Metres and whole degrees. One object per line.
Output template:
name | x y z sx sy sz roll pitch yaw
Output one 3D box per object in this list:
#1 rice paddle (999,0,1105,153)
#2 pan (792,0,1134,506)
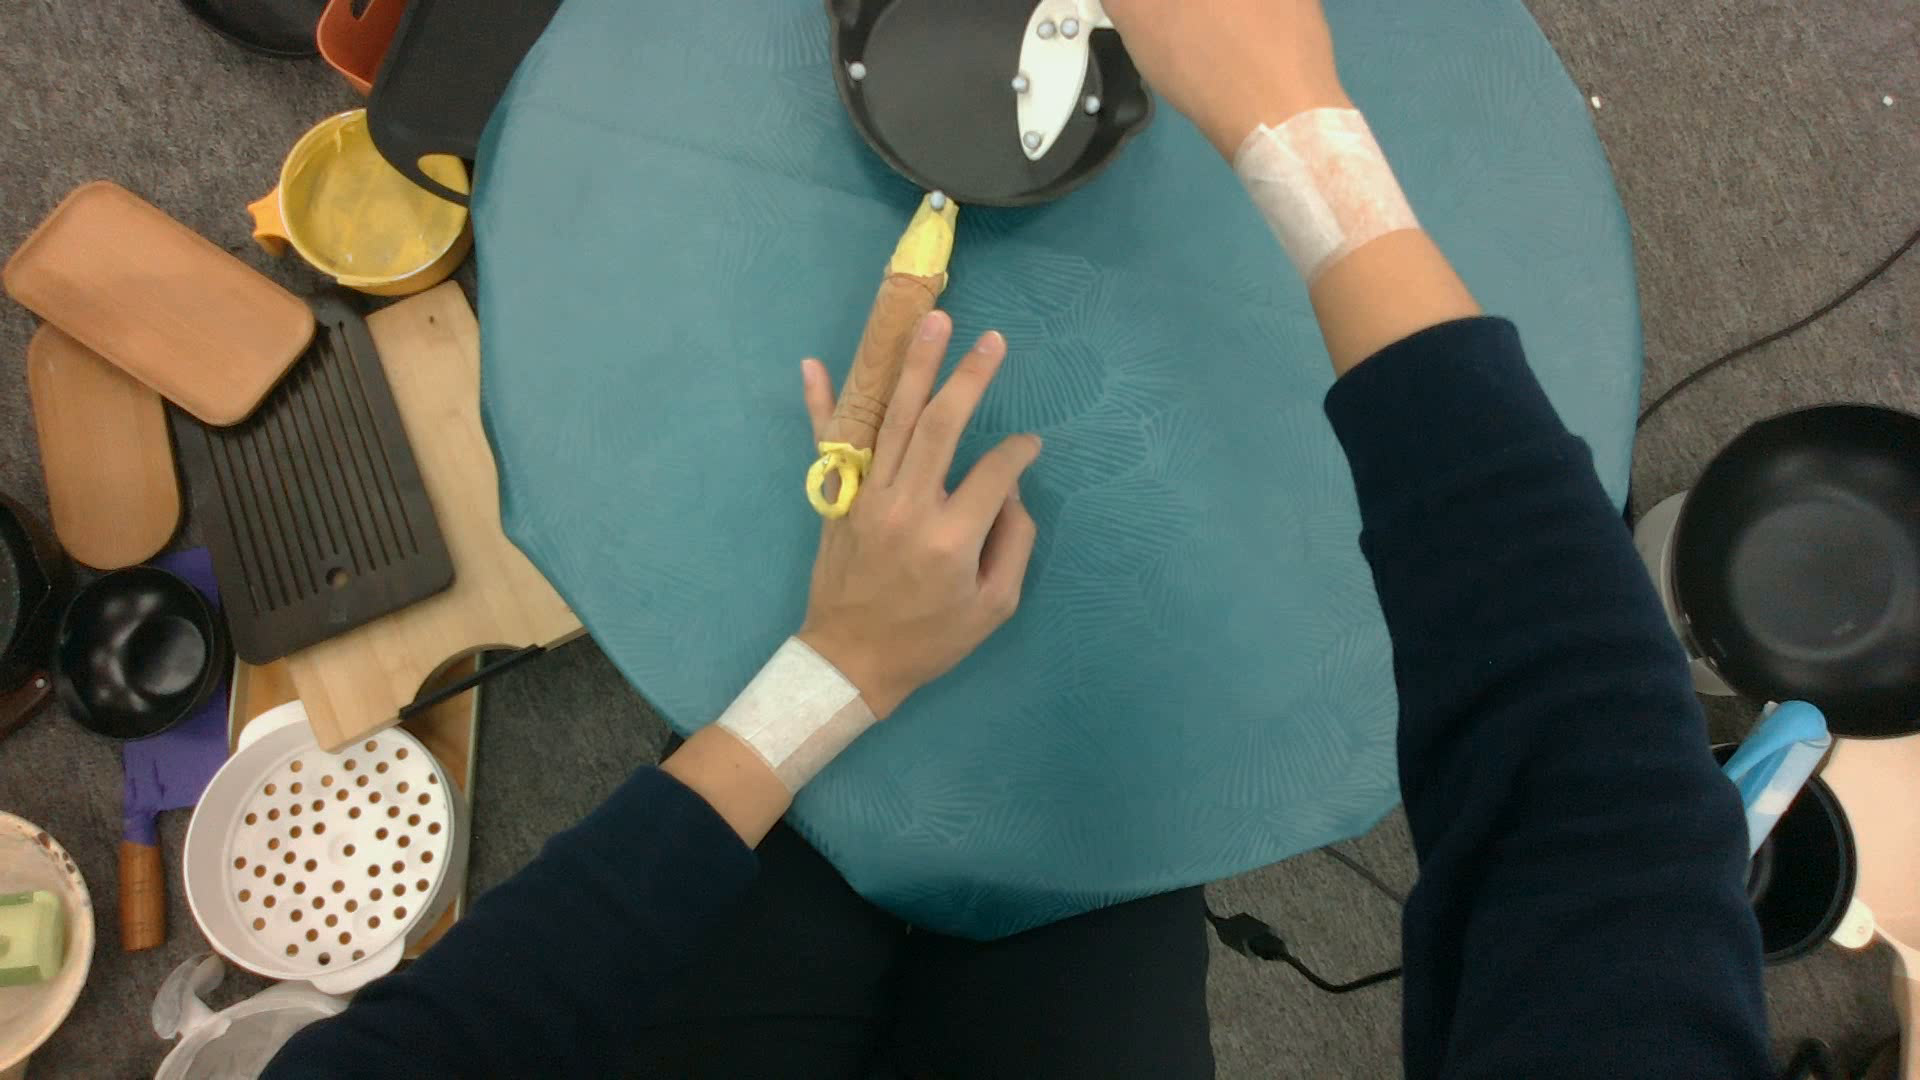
rice paddle | 0.046 -0.230 0.601 0.029 0.204 0.069 -1 83 -17
pan | -0.021 -0.164 0.660 0.169 0.049 0.325 20 75 -5
